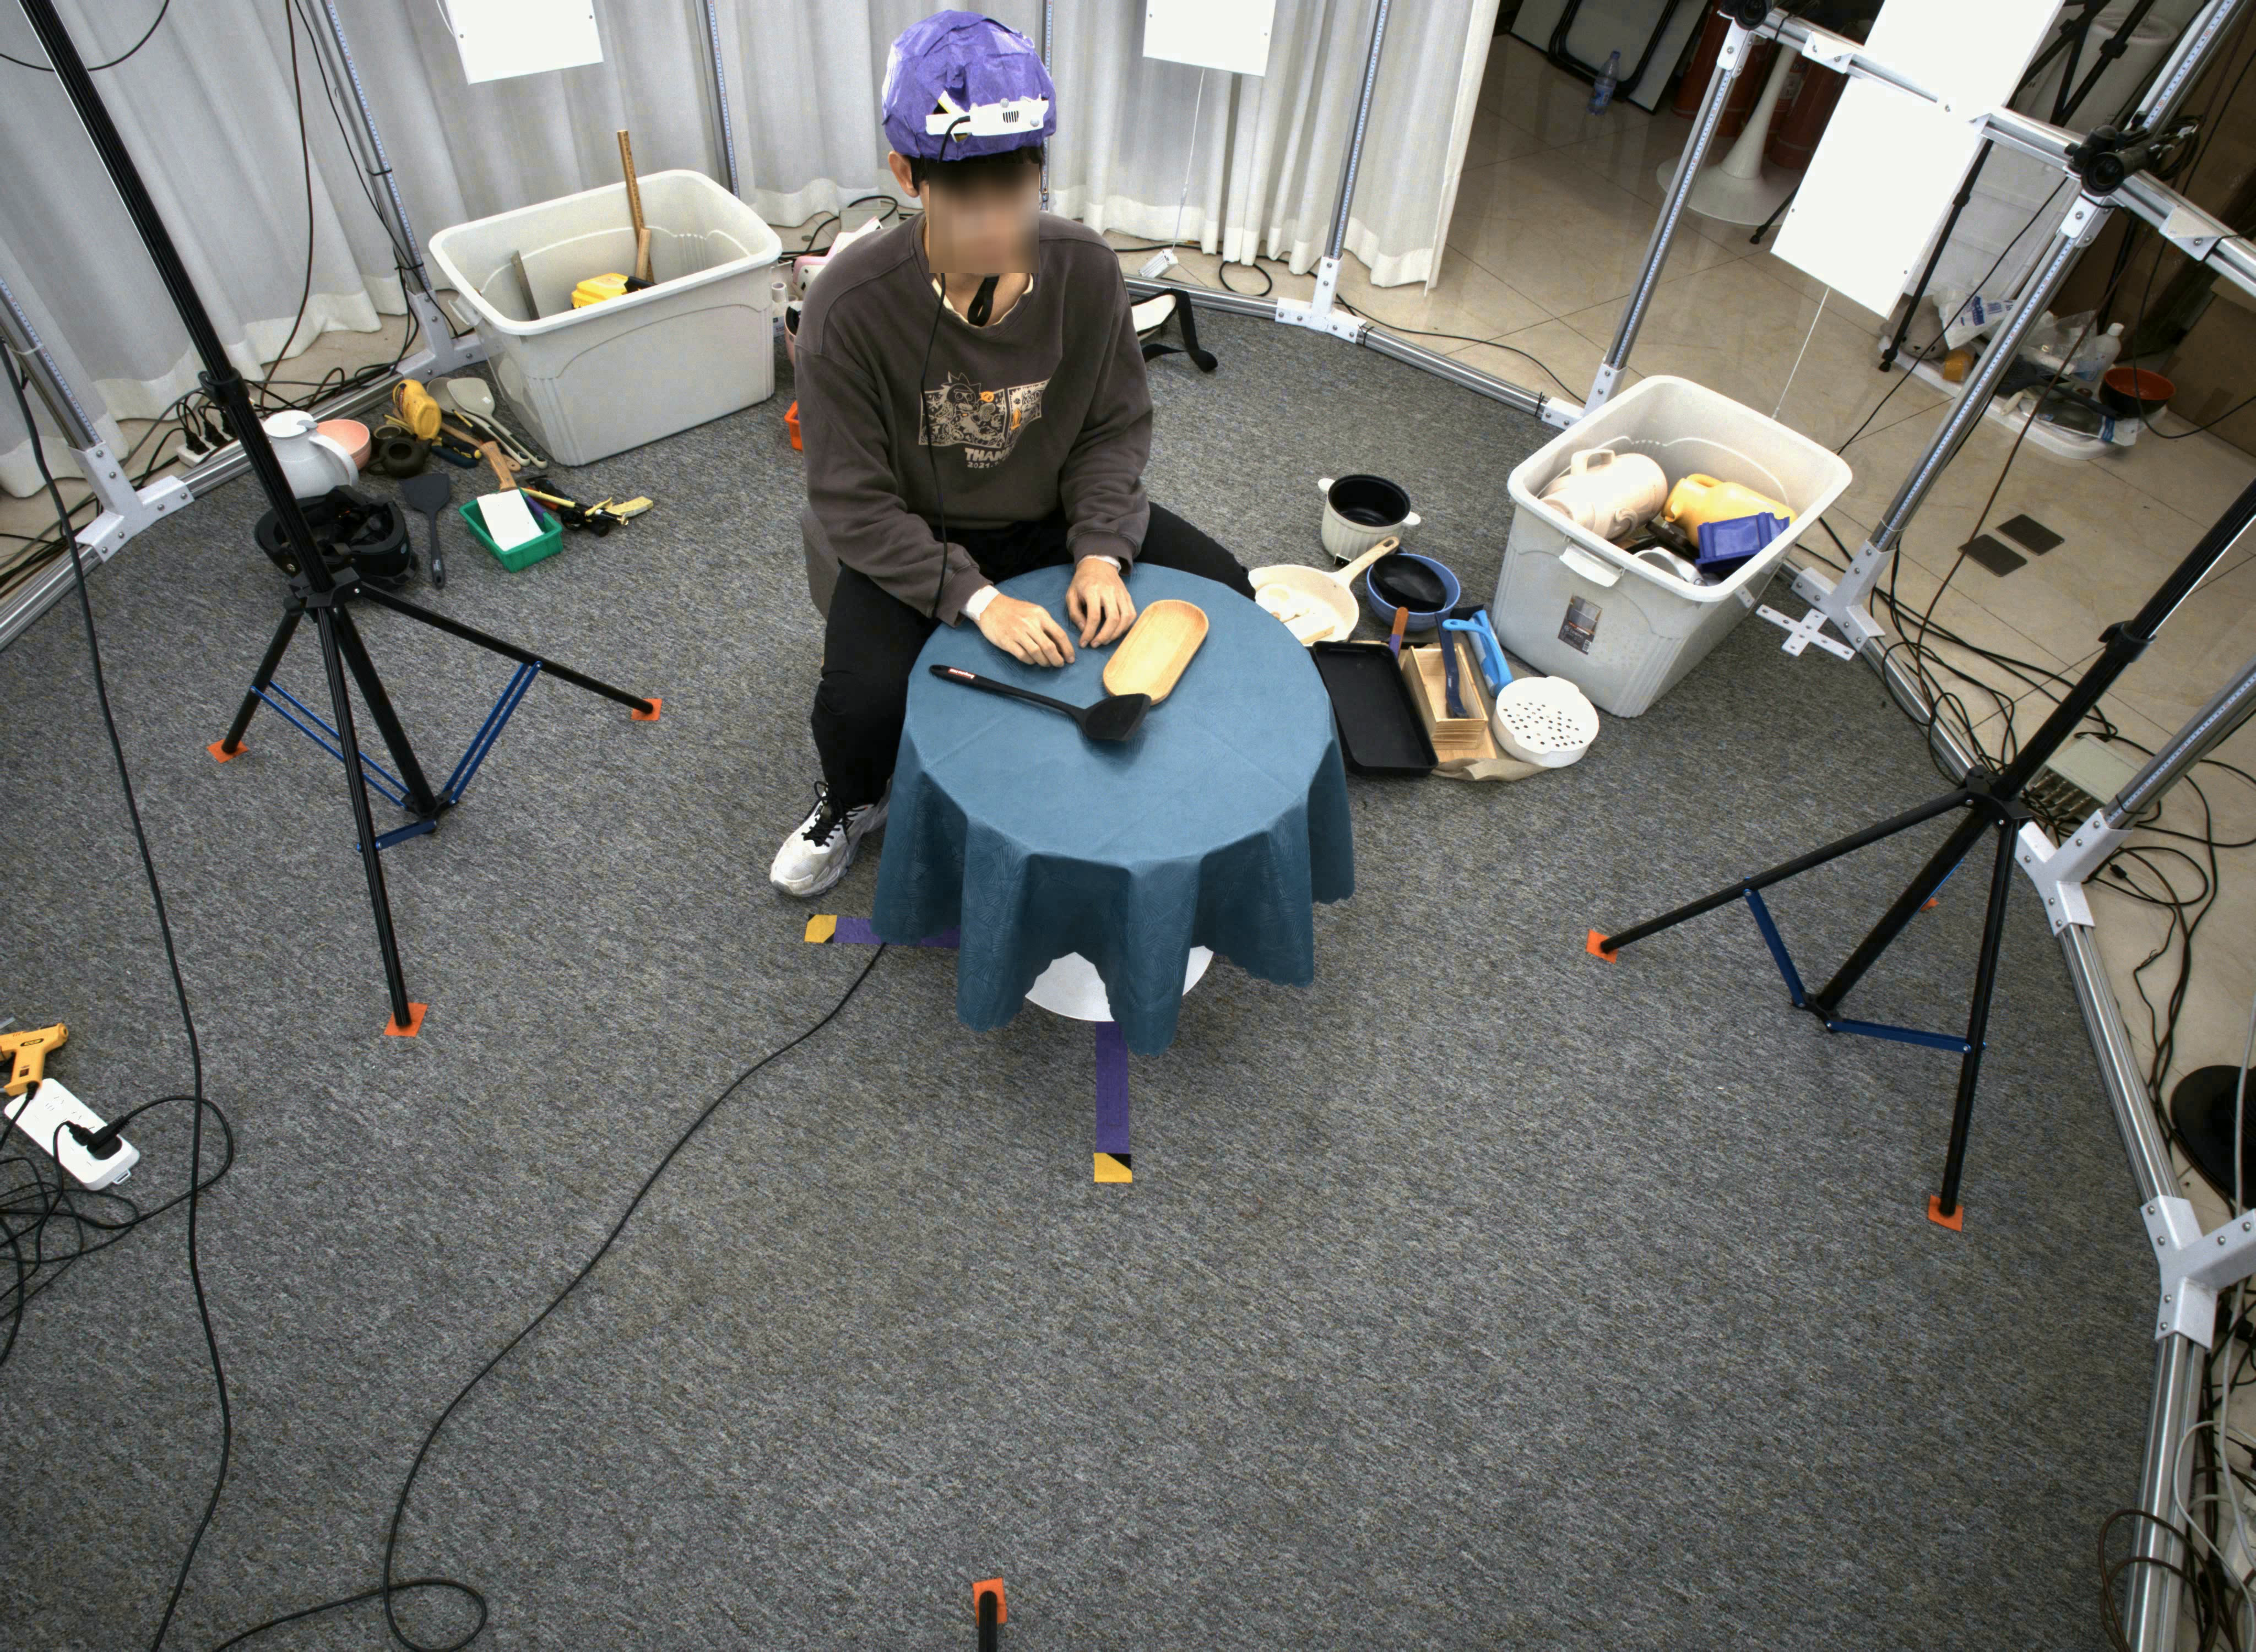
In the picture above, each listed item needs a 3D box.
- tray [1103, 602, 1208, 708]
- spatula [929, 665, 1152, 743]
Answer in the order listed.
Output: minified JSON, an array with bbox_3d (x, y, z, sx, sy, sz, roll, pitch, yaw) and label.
[{"bbox_3d":[0.042,-0.251,1.877,0.102,0.020,0.235,20,52,14],"label":"tray"},{"bbox_3d":[-0.130,-0.184,1.794,0.327,0.039,0.101,19,49,12],"label":"spatula"}]
